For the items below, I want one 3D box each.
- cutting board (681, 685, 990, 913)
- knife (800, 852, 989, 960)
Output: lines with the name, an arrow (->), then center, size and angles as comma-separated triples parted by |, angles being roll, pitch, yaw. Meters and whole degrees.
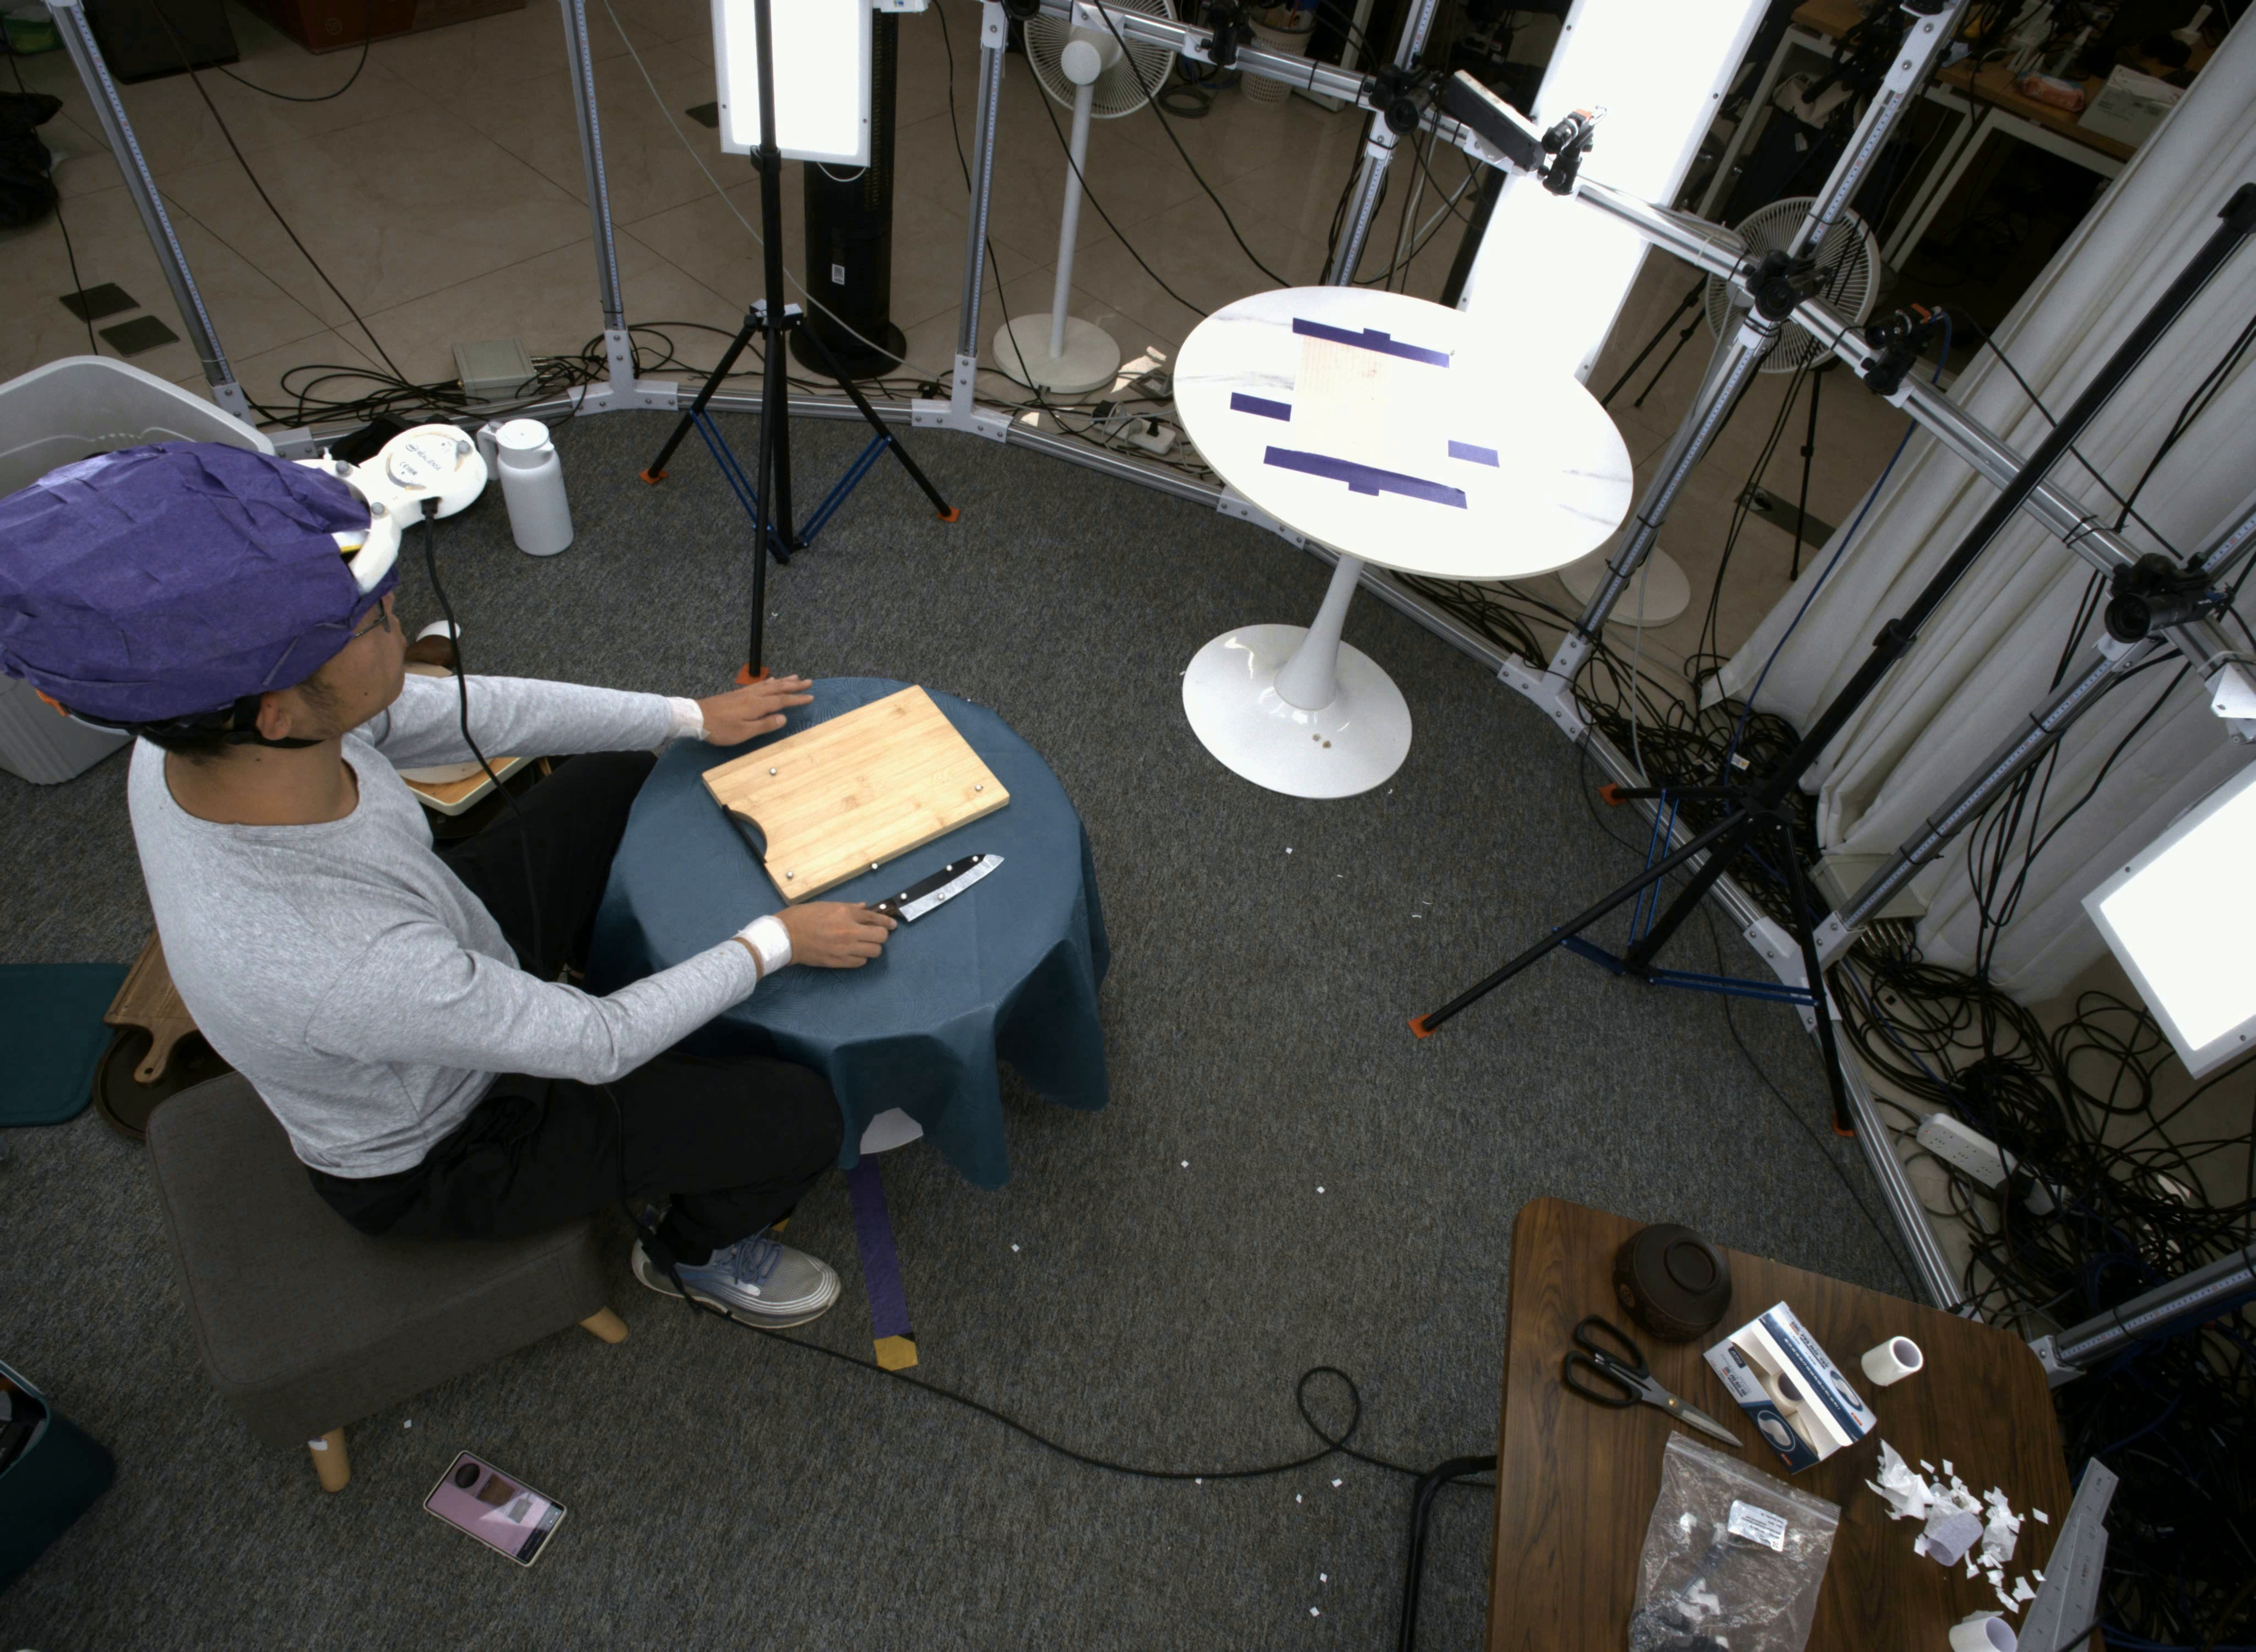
cutting board -> -0.393, -0.047, 1.768 | 0.350, 0.024, 0.244 | -29, 65, -30
knife -> -0.297, 0.097, 1.686 | 0.290, 0.020, 0.049 | -29, 67, -33
